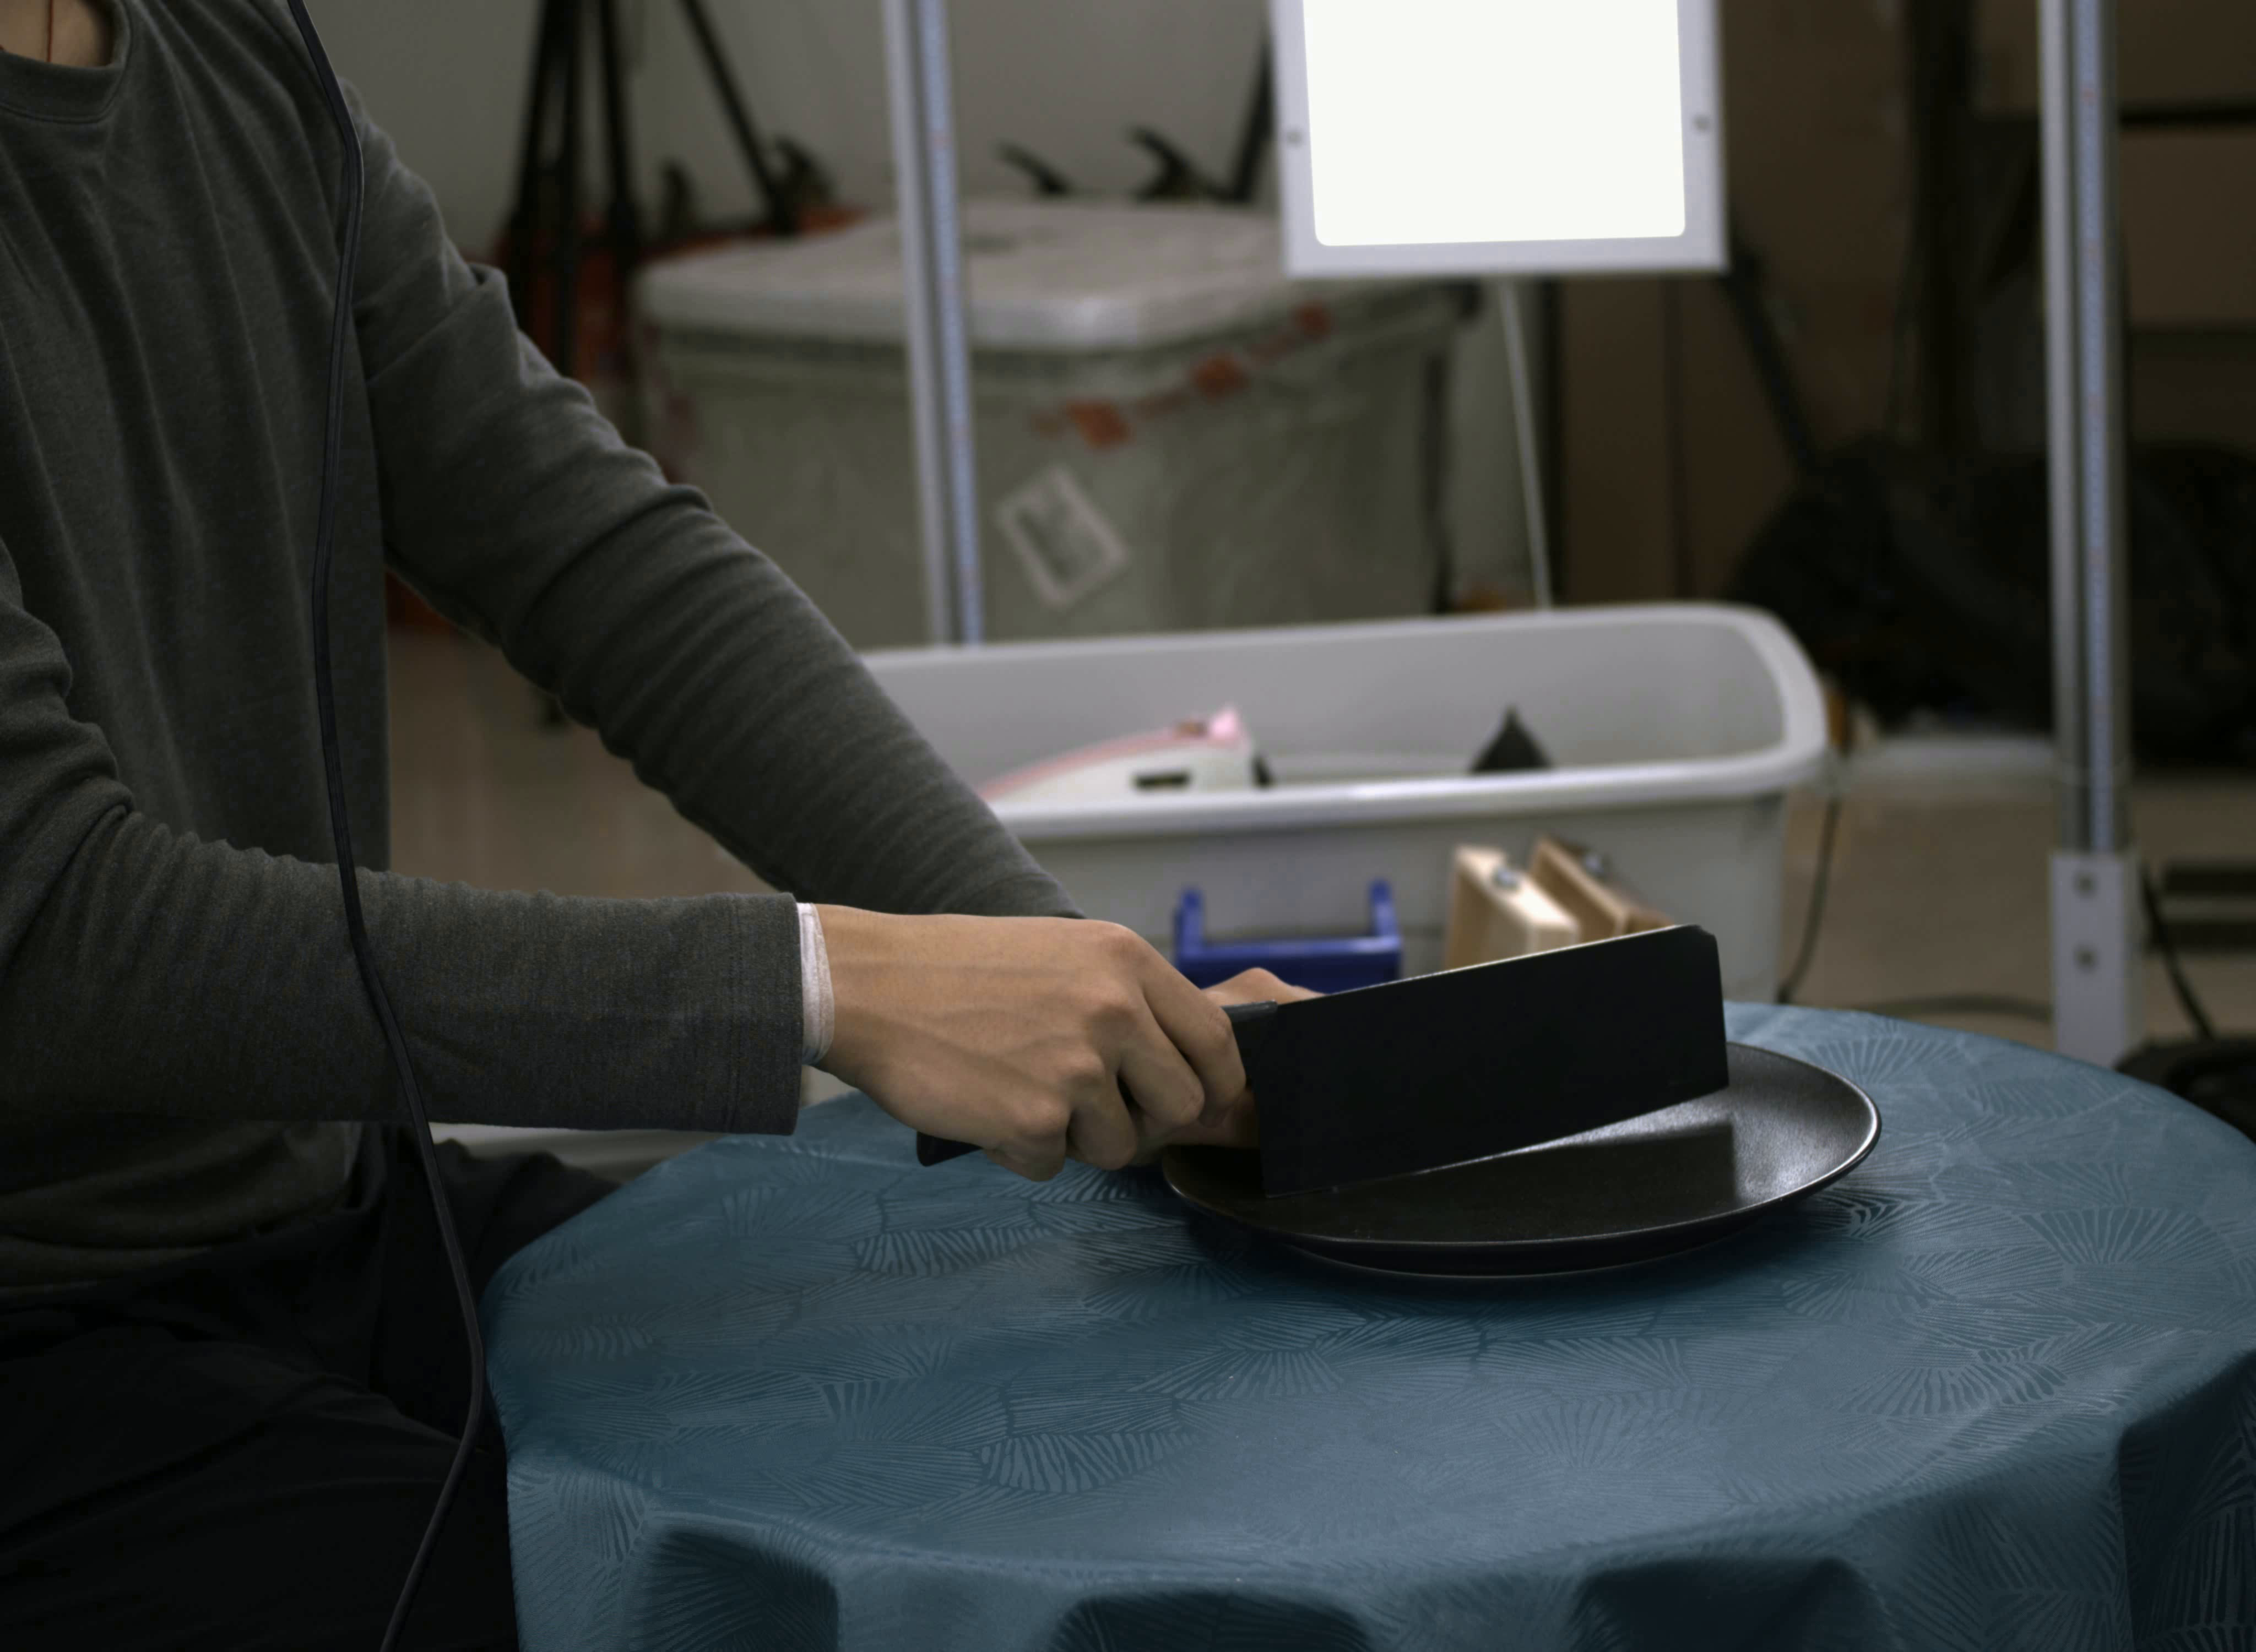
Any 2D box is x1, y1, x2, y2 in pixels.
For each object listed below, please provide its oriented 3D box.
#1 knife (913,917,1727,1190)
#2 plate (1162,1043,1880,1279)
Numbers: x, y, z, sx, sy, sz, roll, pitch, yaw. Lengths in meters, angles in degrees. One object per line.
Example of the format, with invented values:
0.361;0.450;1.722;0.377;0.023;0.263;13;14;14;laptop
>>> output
0.070;0.083;1.852;0.297;0.081;0.021;-6;8;-20;knife
0.133;0.113;1.859;0.244;0.023;0.244;-5;14;0;plate
